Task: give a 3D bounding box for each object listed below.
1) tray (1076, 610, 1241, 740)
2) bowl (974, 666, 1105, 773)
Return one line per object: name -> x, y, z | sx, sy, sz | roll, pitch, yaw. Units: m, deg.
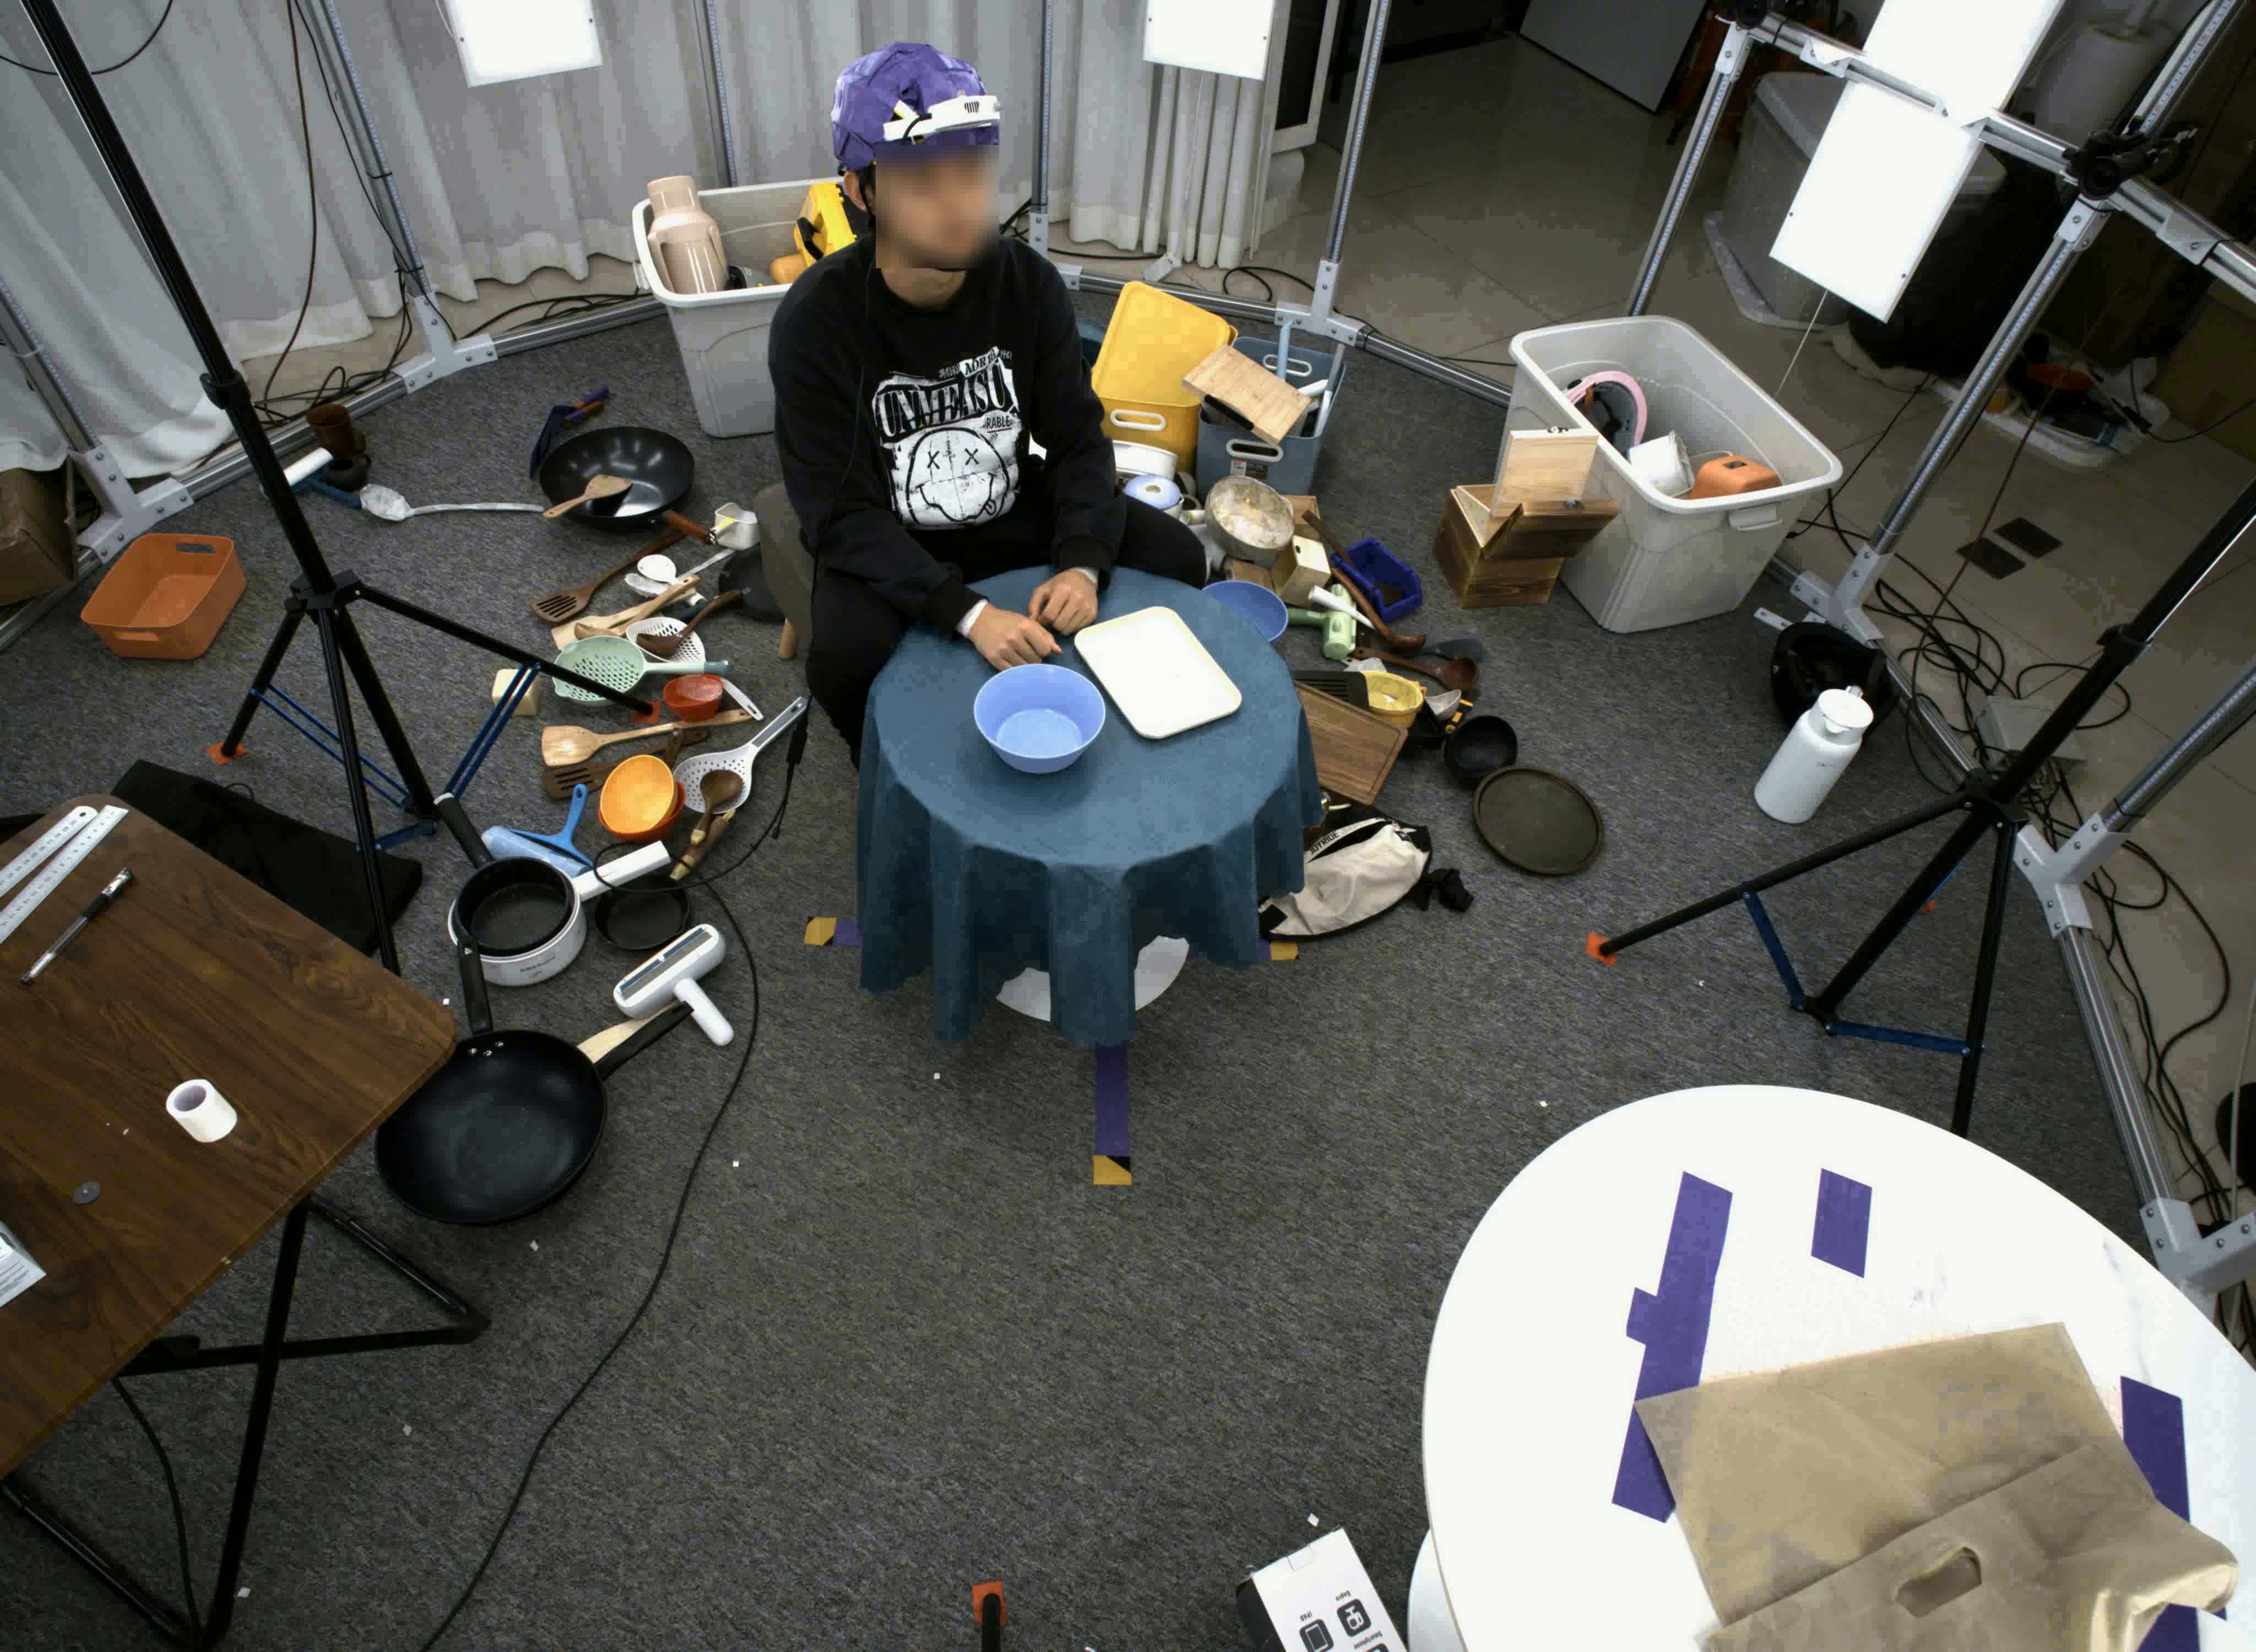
tray -> 0.043, -0.222, 1.869 | 0.171, 0.017, 0.245 | -19, 53, -20
bowl -> -0.120, -0.136, 1.748 | 0.176, 0.068, 0.180 | 2, 49, -3
